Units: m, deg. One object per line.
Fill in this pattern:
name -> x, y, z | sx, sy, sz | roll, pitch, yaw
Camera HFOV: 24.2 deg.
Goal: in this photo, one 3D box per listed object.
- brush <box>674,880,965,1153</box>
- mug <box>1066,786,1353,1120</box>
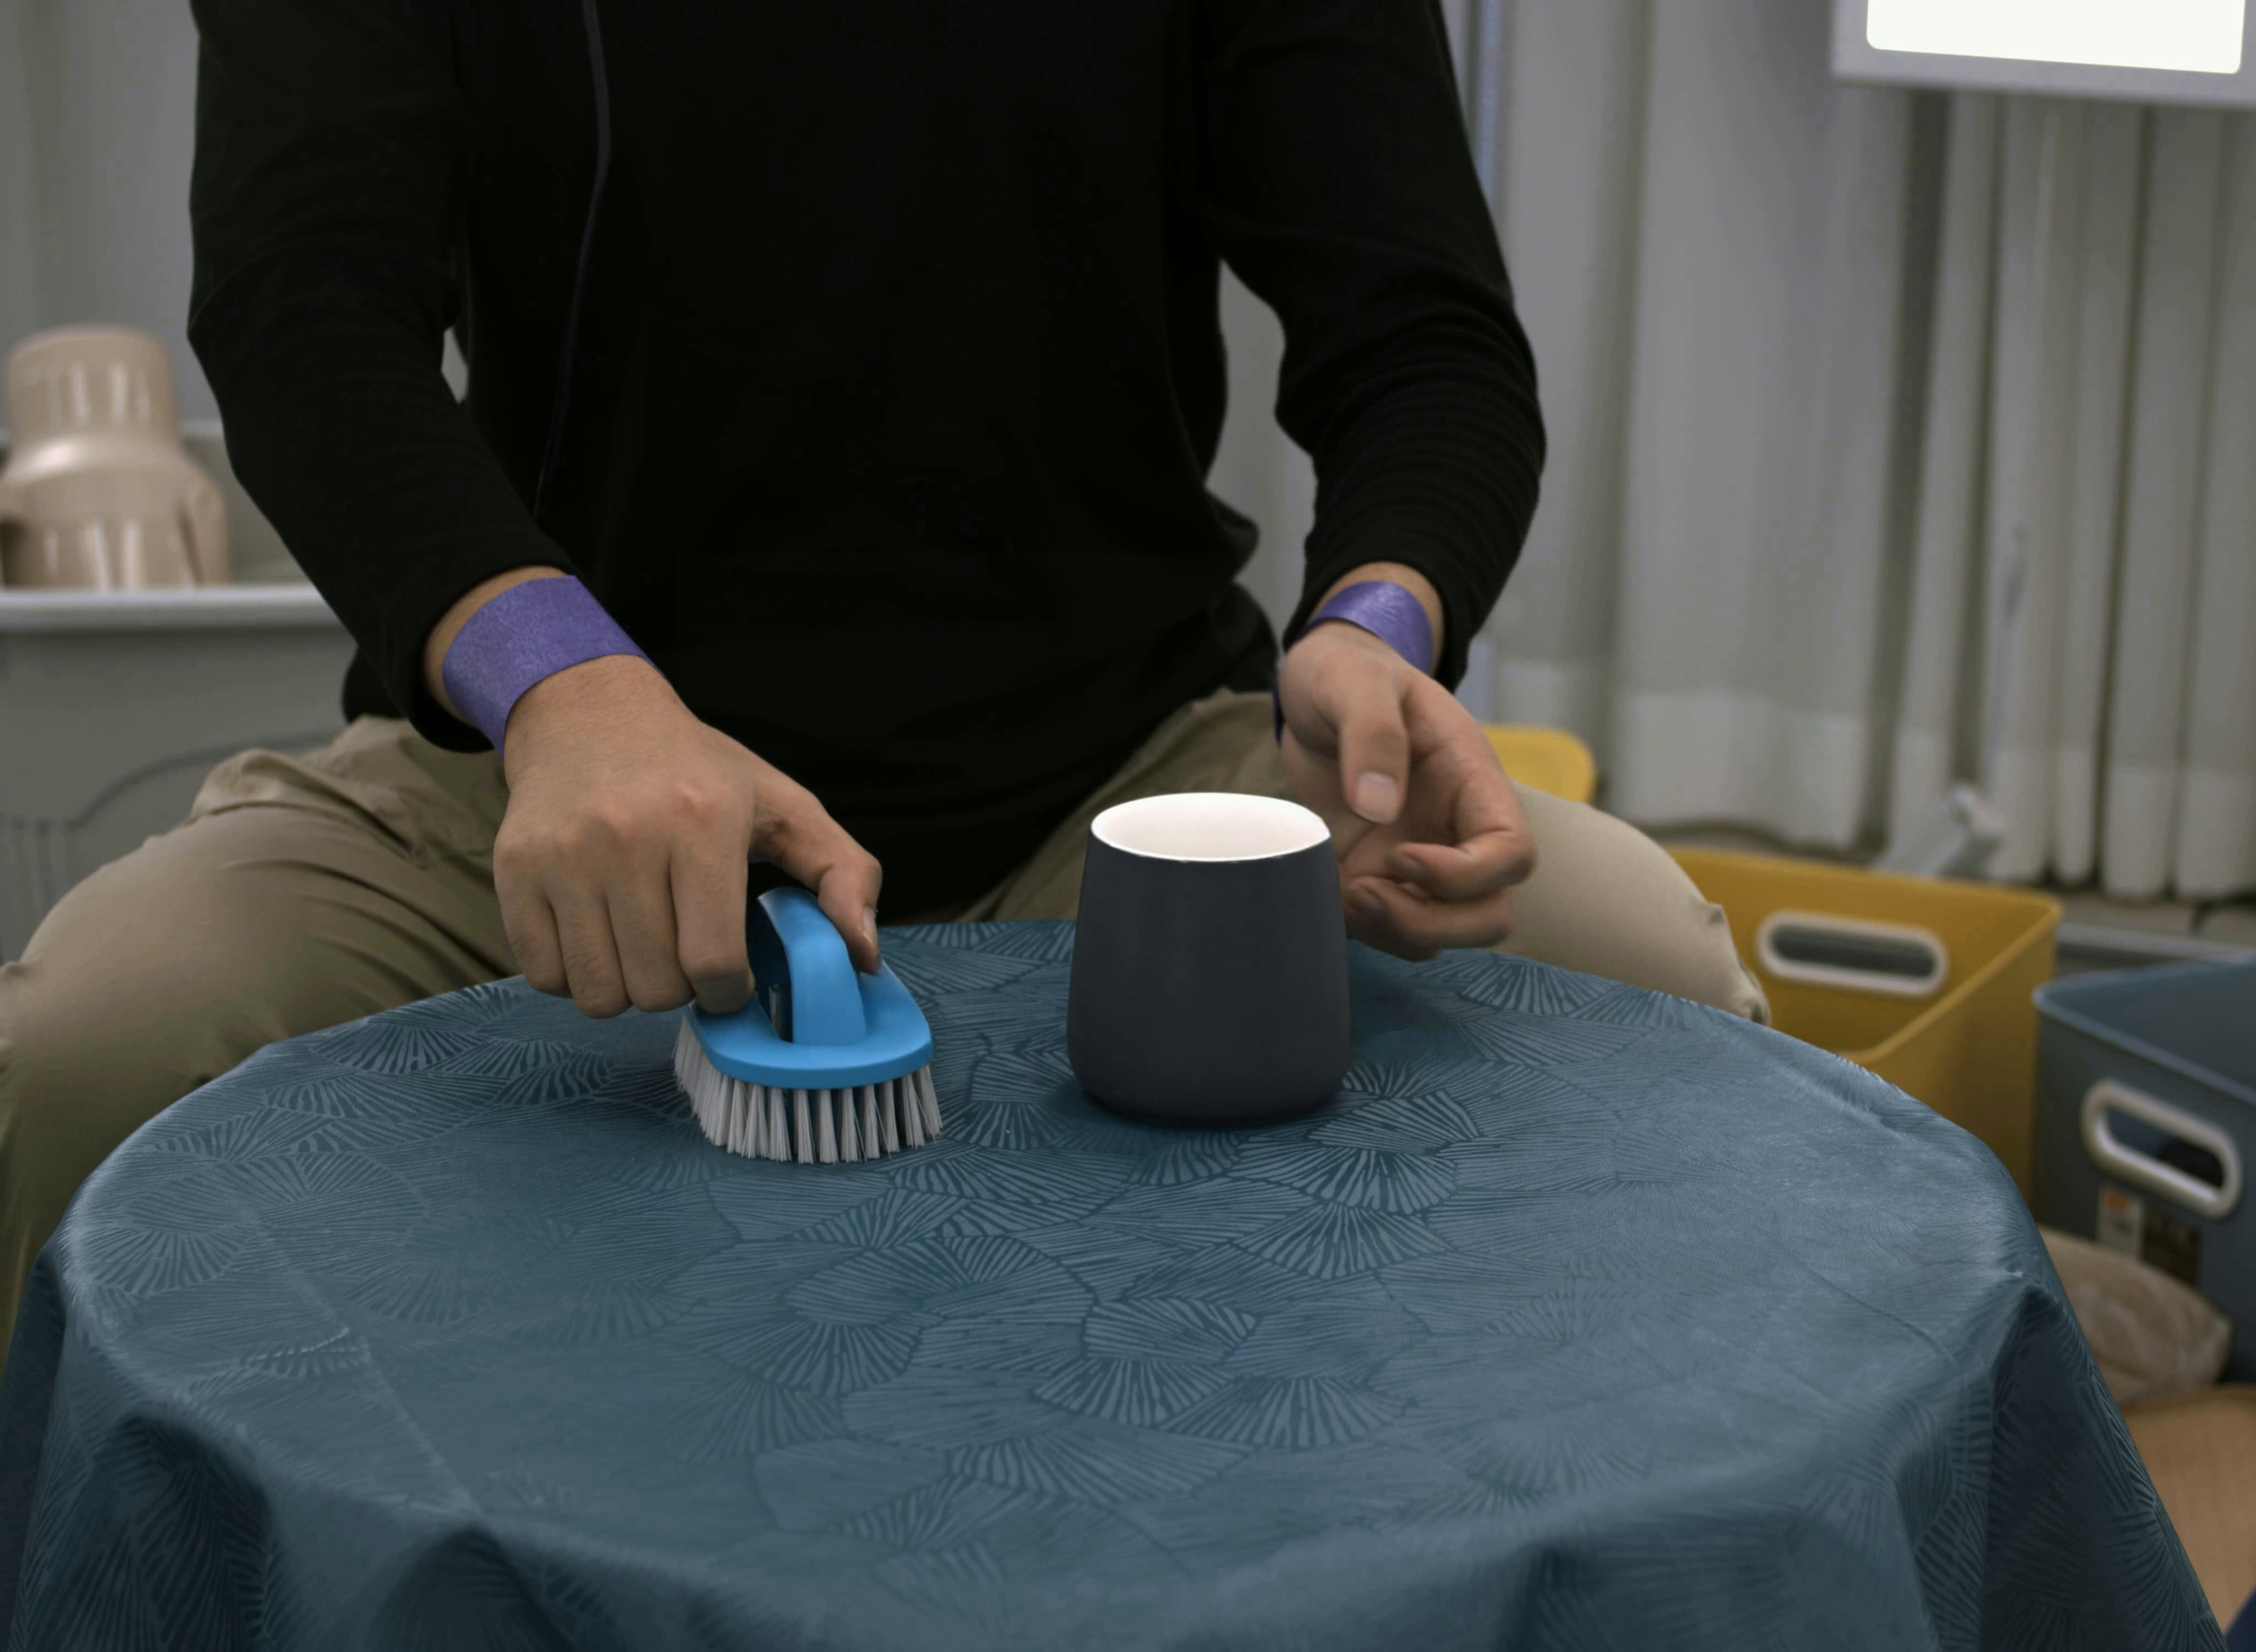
brush -> -0.103, 0.055, 1.700 | 0.084, 0.064, 0.140 | -7, 16, -11
mug -> 0.026, 0.036, 1.718 | 0.093, 0.090, 0.122 | 0, 18, -5
